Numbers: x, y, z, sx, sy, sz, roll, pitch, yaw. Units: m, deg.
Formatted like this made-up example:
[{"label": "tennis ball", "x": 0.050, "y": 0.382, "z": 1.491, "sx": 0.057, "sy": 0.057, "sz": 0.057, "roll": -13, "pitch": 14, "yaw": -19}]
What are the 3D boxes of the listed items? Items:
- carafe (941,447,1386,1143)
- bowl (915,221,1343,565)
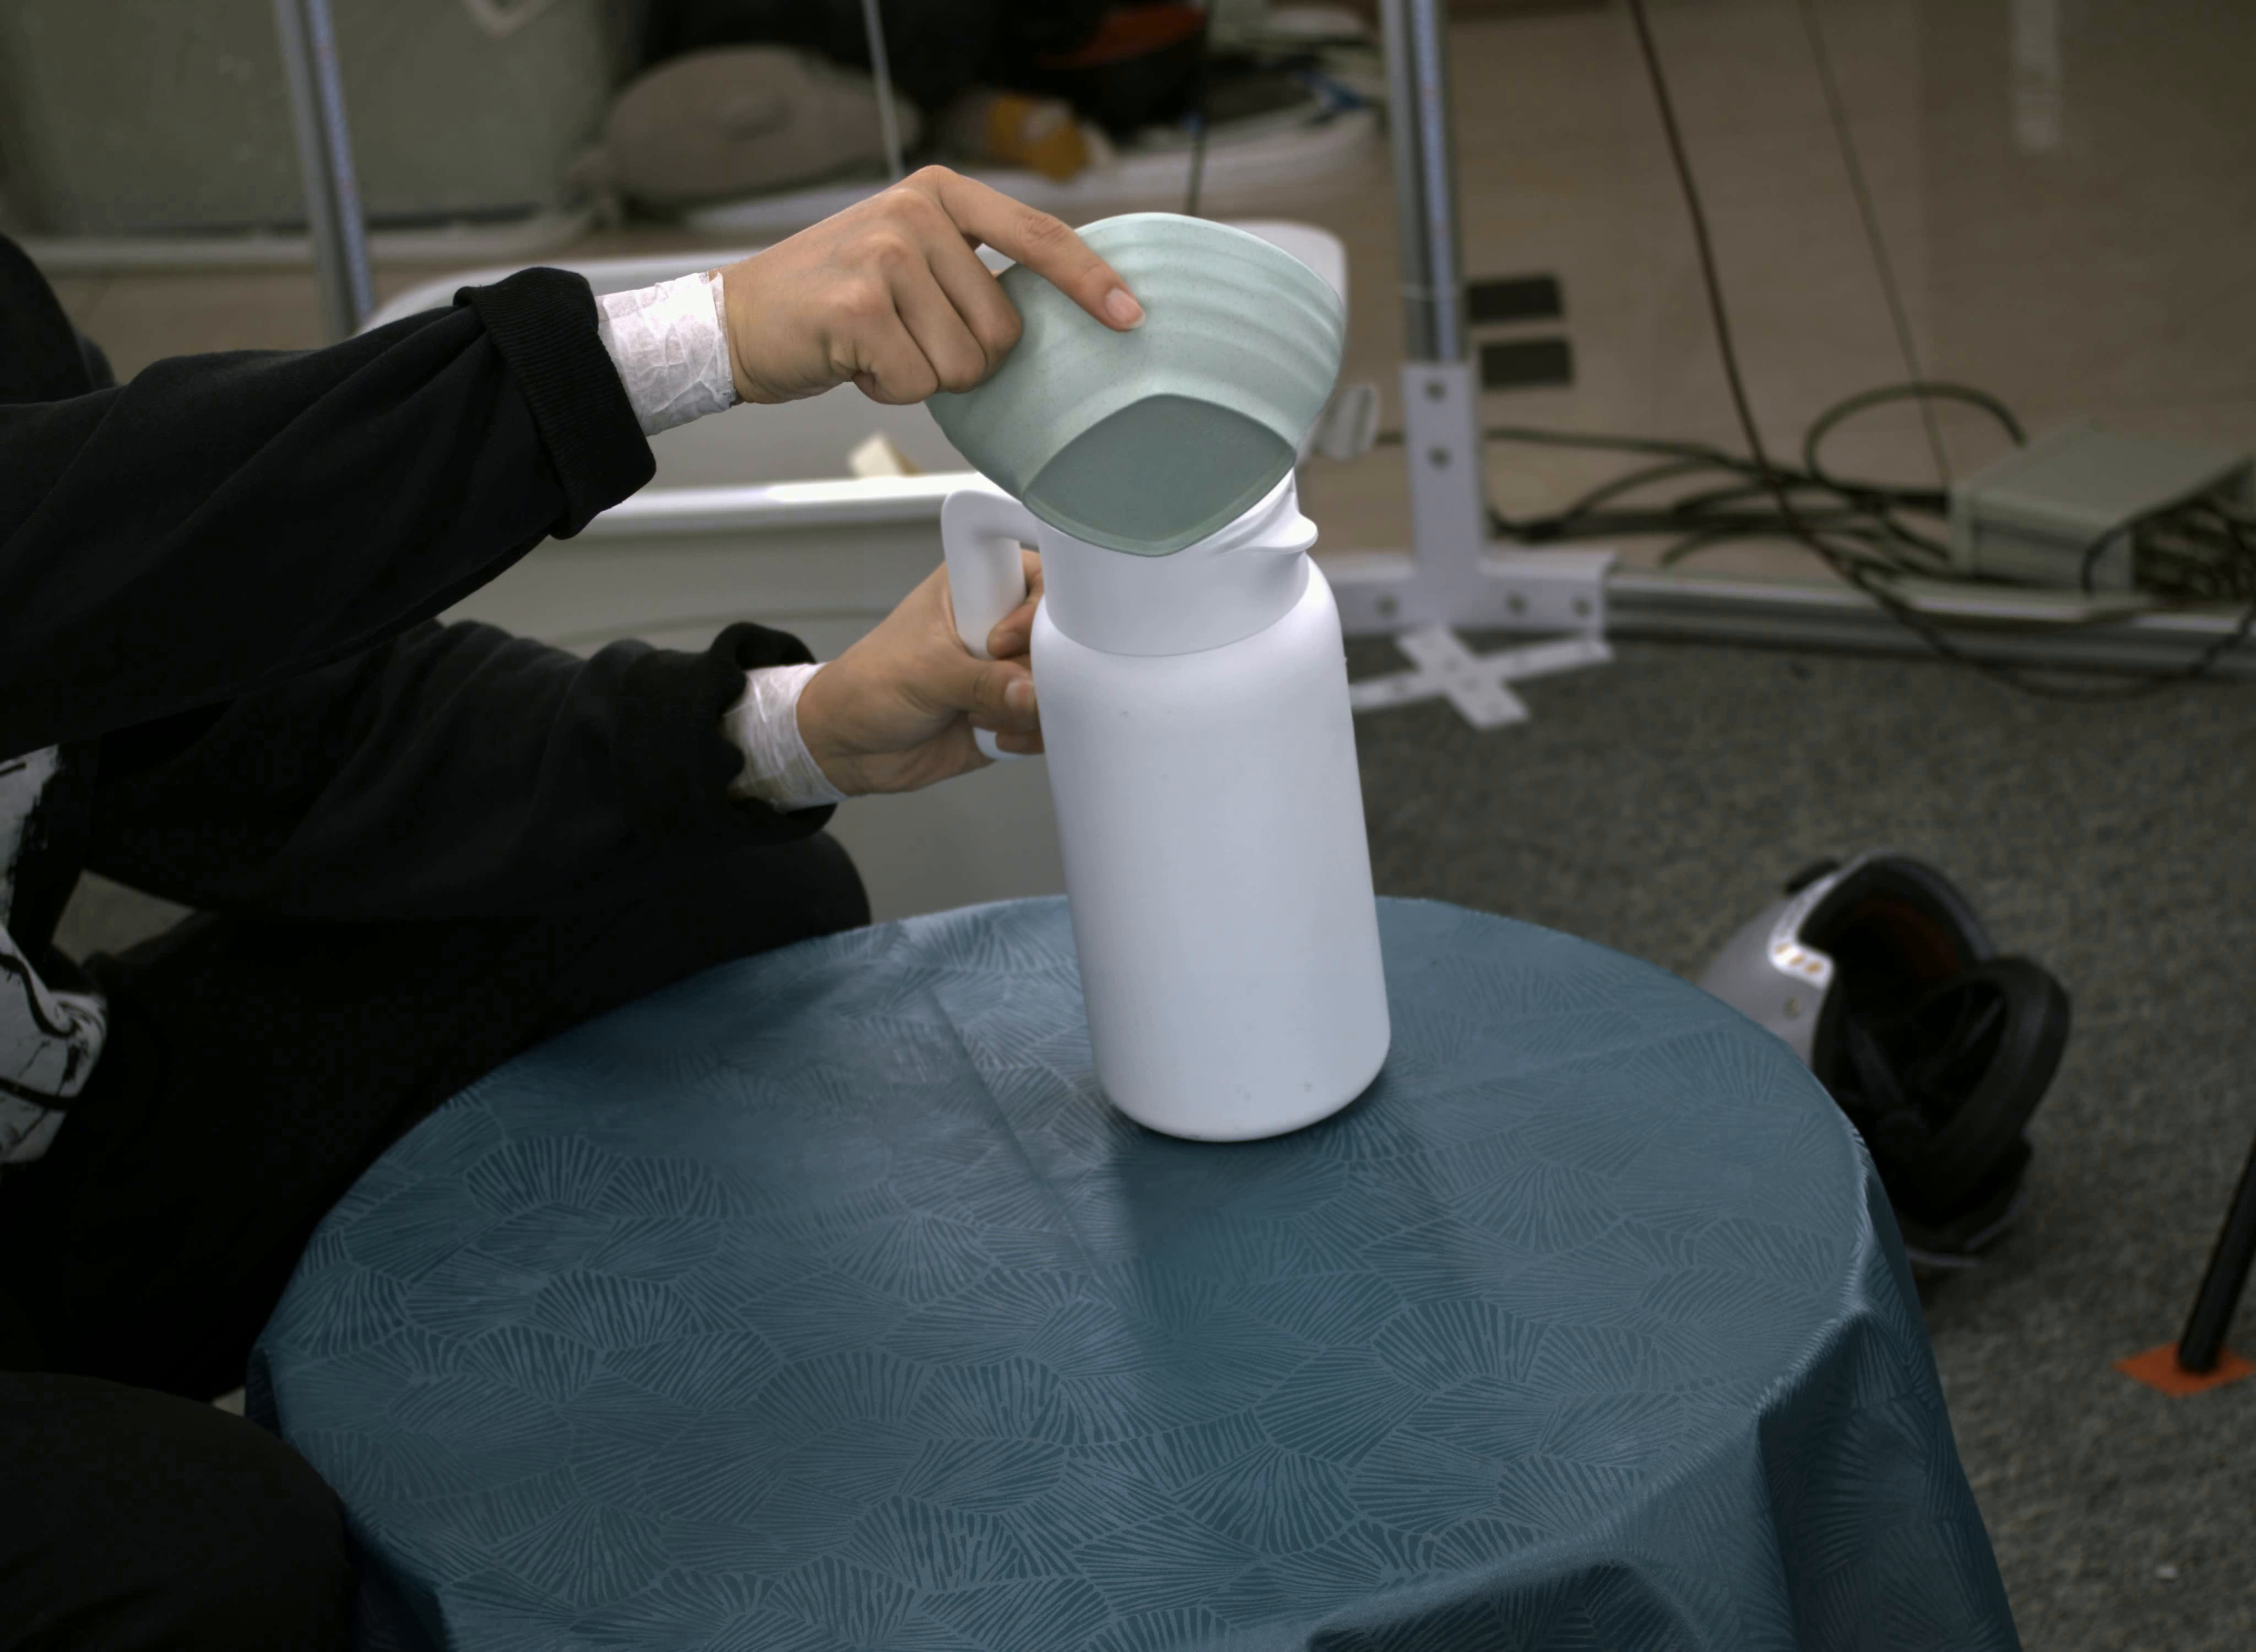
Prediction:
[{"label": "carafe", "x": 0.014, "y": -0.021, "z": 2.155, "sx": 0.171, "sy": 0.274, "sz": 0.122, "roll": 17, "pitch": 43, "yaw": 33}, {"label": "bowl", "x": 0.005, "y": -0.142, "z": 1.963, "sx": 0.151, "sy": 0.154, "sz": 0.058, "roll": -8, "pitch": 59, "yaw": -5}]
